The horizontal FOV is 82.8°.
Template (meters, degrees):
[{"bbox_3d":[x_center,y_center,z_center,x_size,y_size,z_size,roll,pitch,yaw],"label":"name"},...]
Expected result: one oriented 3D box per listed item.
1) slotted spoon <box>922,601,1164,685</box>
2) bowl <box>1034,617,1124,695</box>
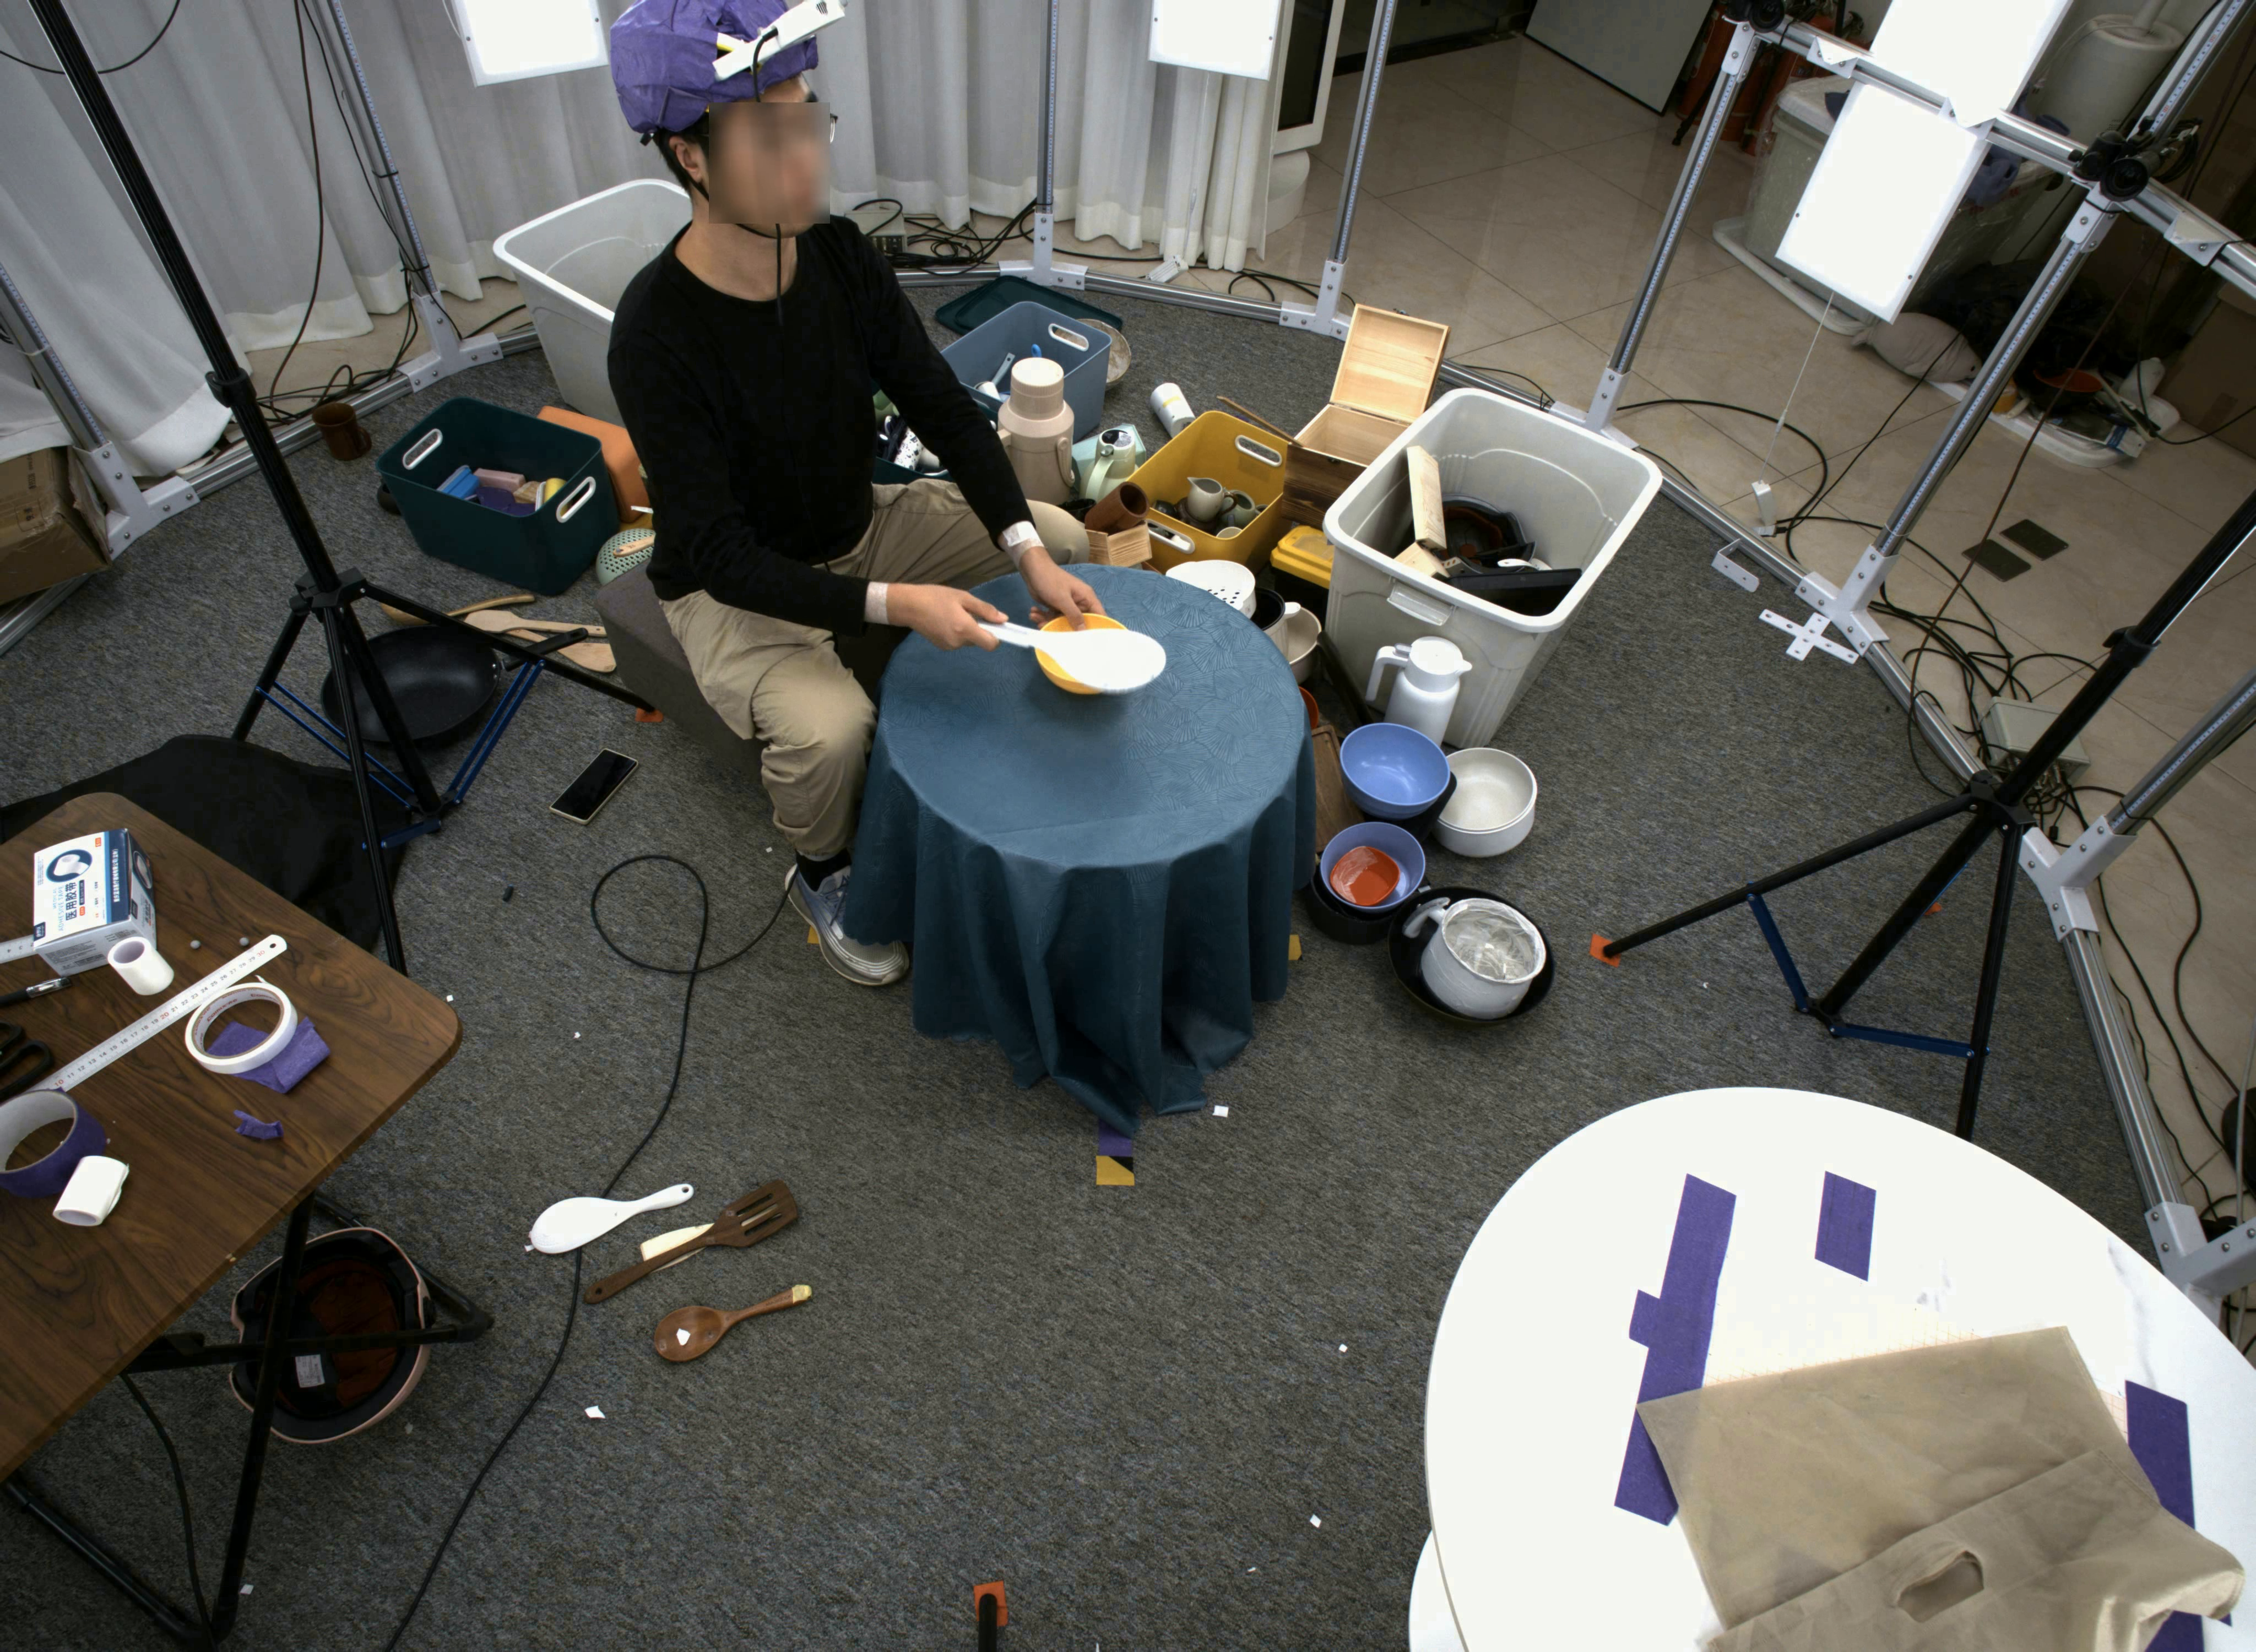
[{"bbox_3d":[-0.119,-0.253,1.723,0.352,0.044,0.138,20,40,16],"label":"slotted spoon"},{"bbox_3d":[-0.062,-0.231,1.834,0.145,0.058,0.149,2,46,-2],"label":"bowl"}]
